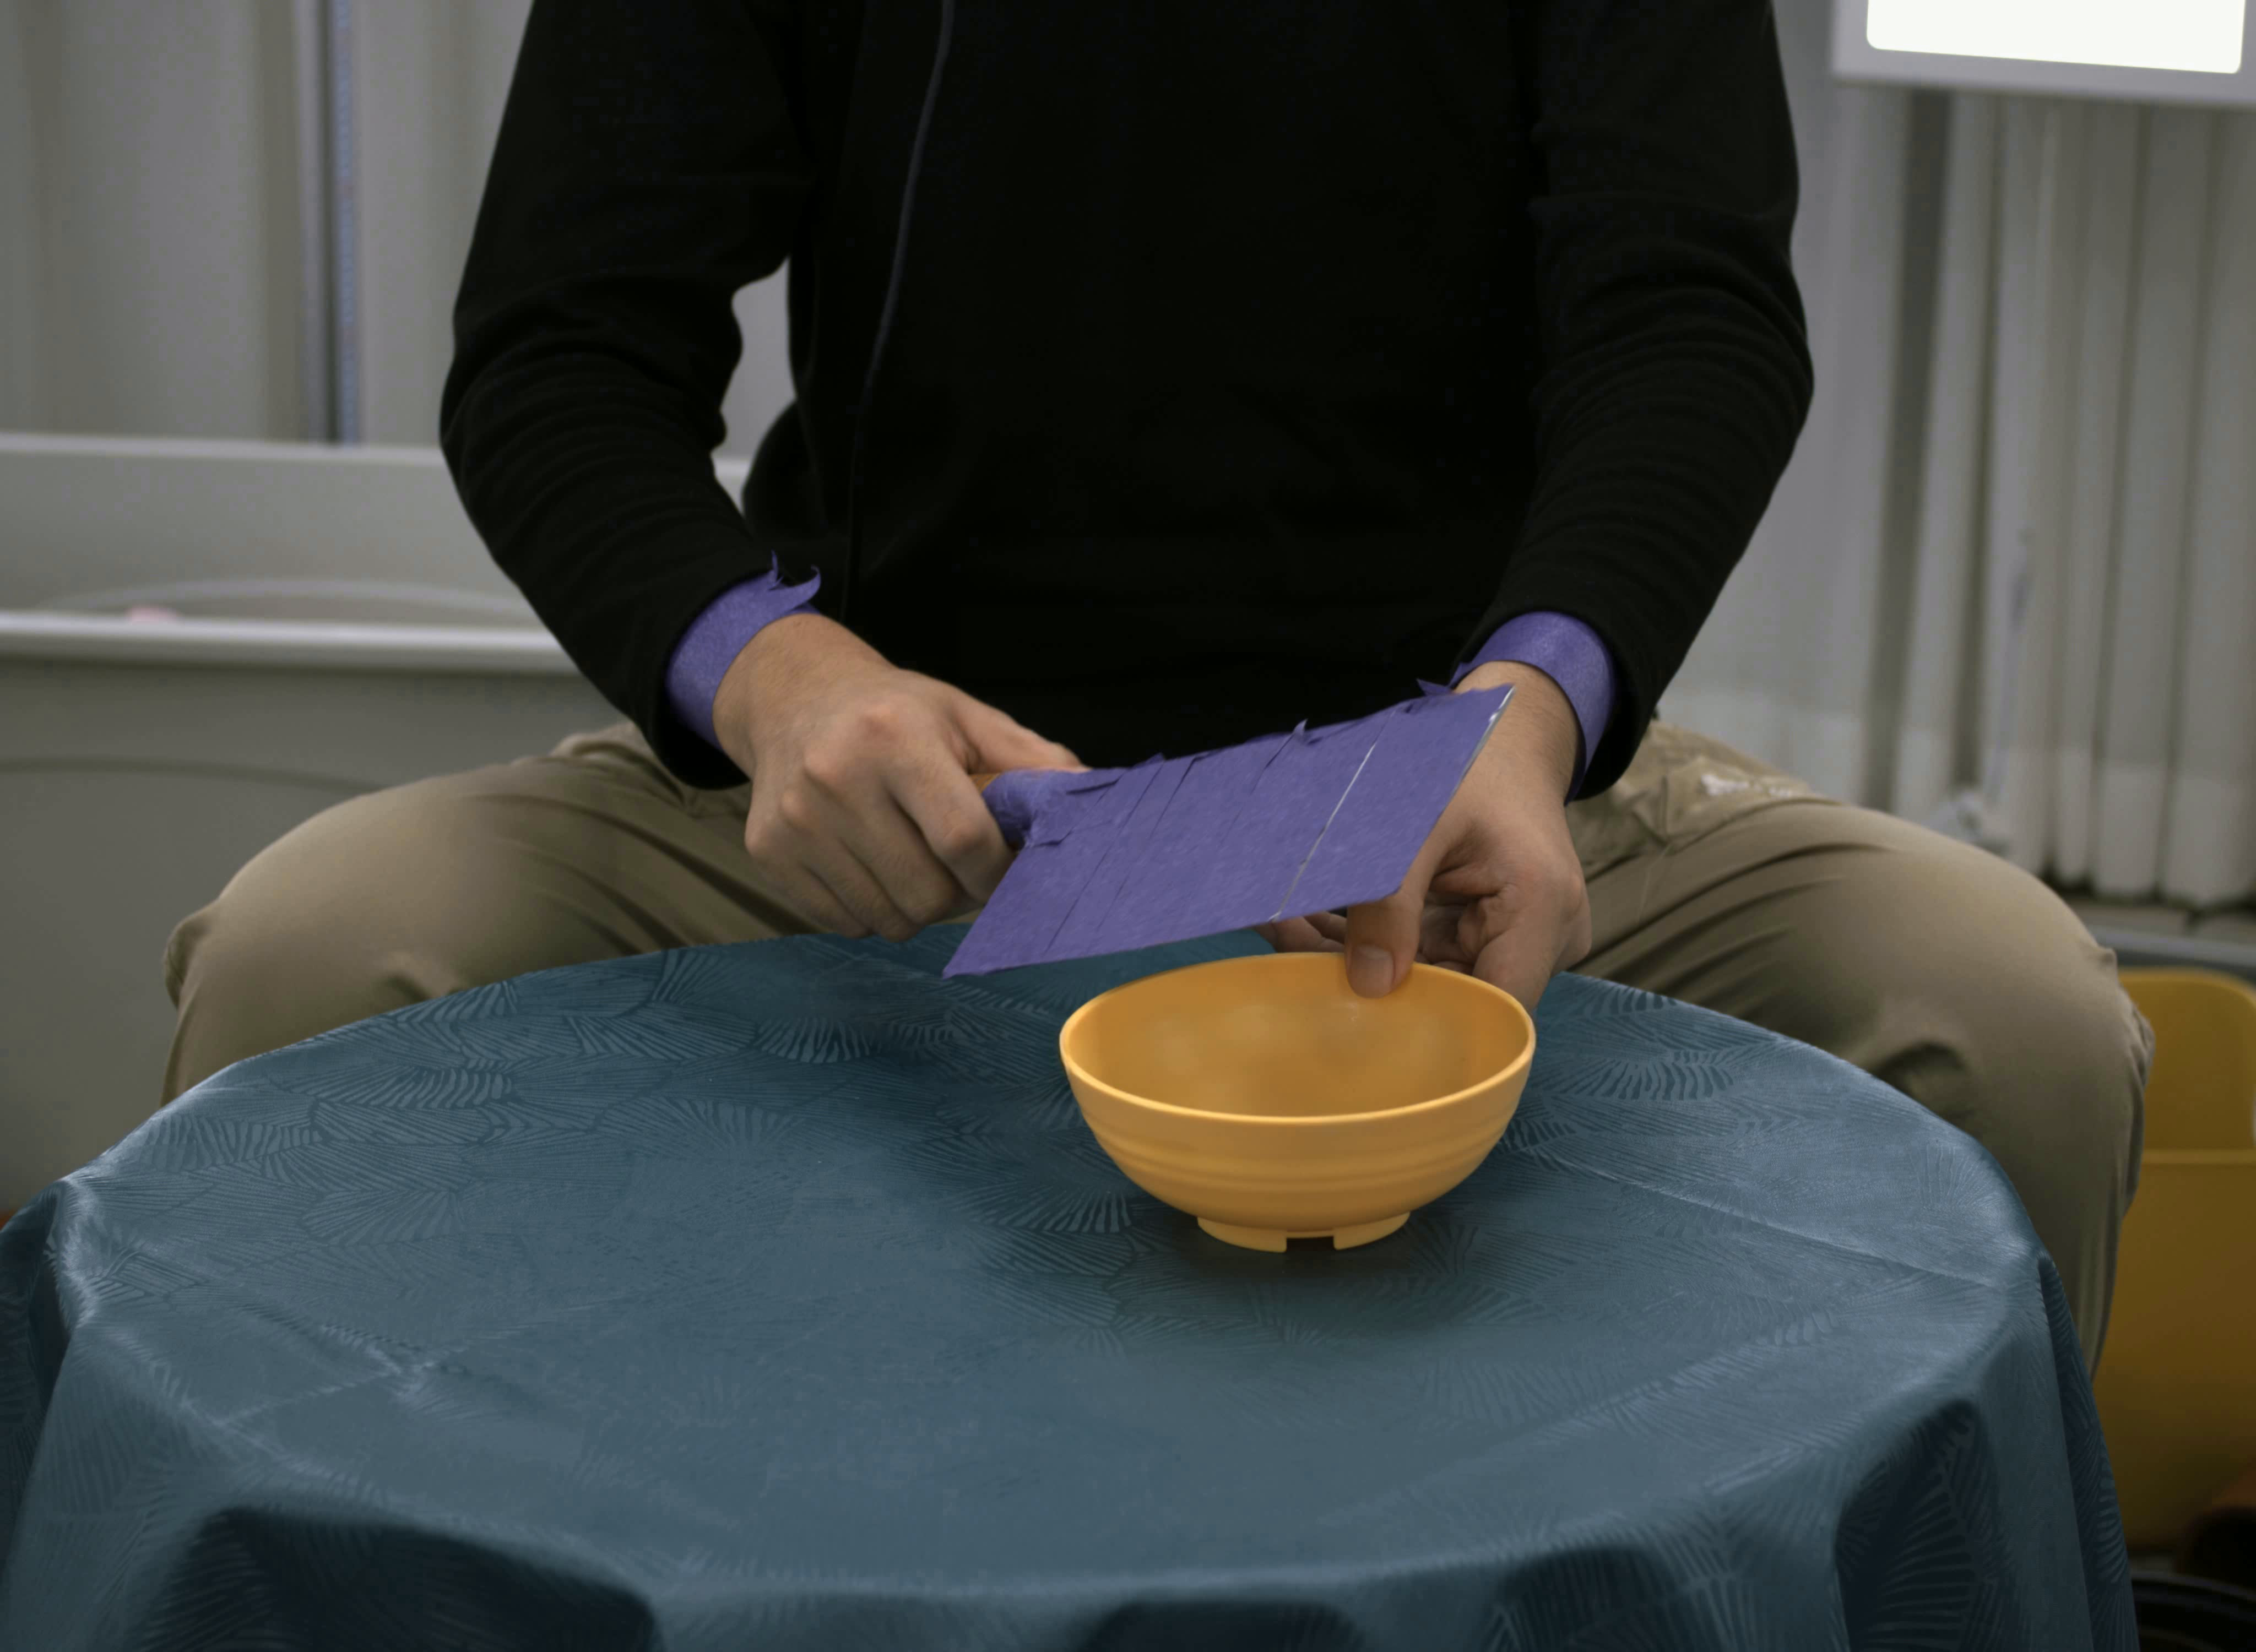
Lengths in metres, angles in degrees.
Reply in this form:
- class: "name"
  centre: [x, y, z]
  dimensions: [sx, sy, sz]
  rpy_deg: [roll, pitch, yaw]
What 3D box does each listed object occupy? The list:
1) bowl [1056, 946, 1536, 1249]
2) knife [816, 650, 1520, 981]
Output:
- class: "bowl"
  centre: [0.050, 0.088, 1.591]
  dimensions: [0.145, 0.060, 0.144]
  rpy_deg: [0, 19, 0]
- class: "knife"
  centre: [-0.008, 0.007, 1.651]
  dimensions: [0.313, 0.032, 0.103]
  rpy_deg: [-15, 33, 48]
